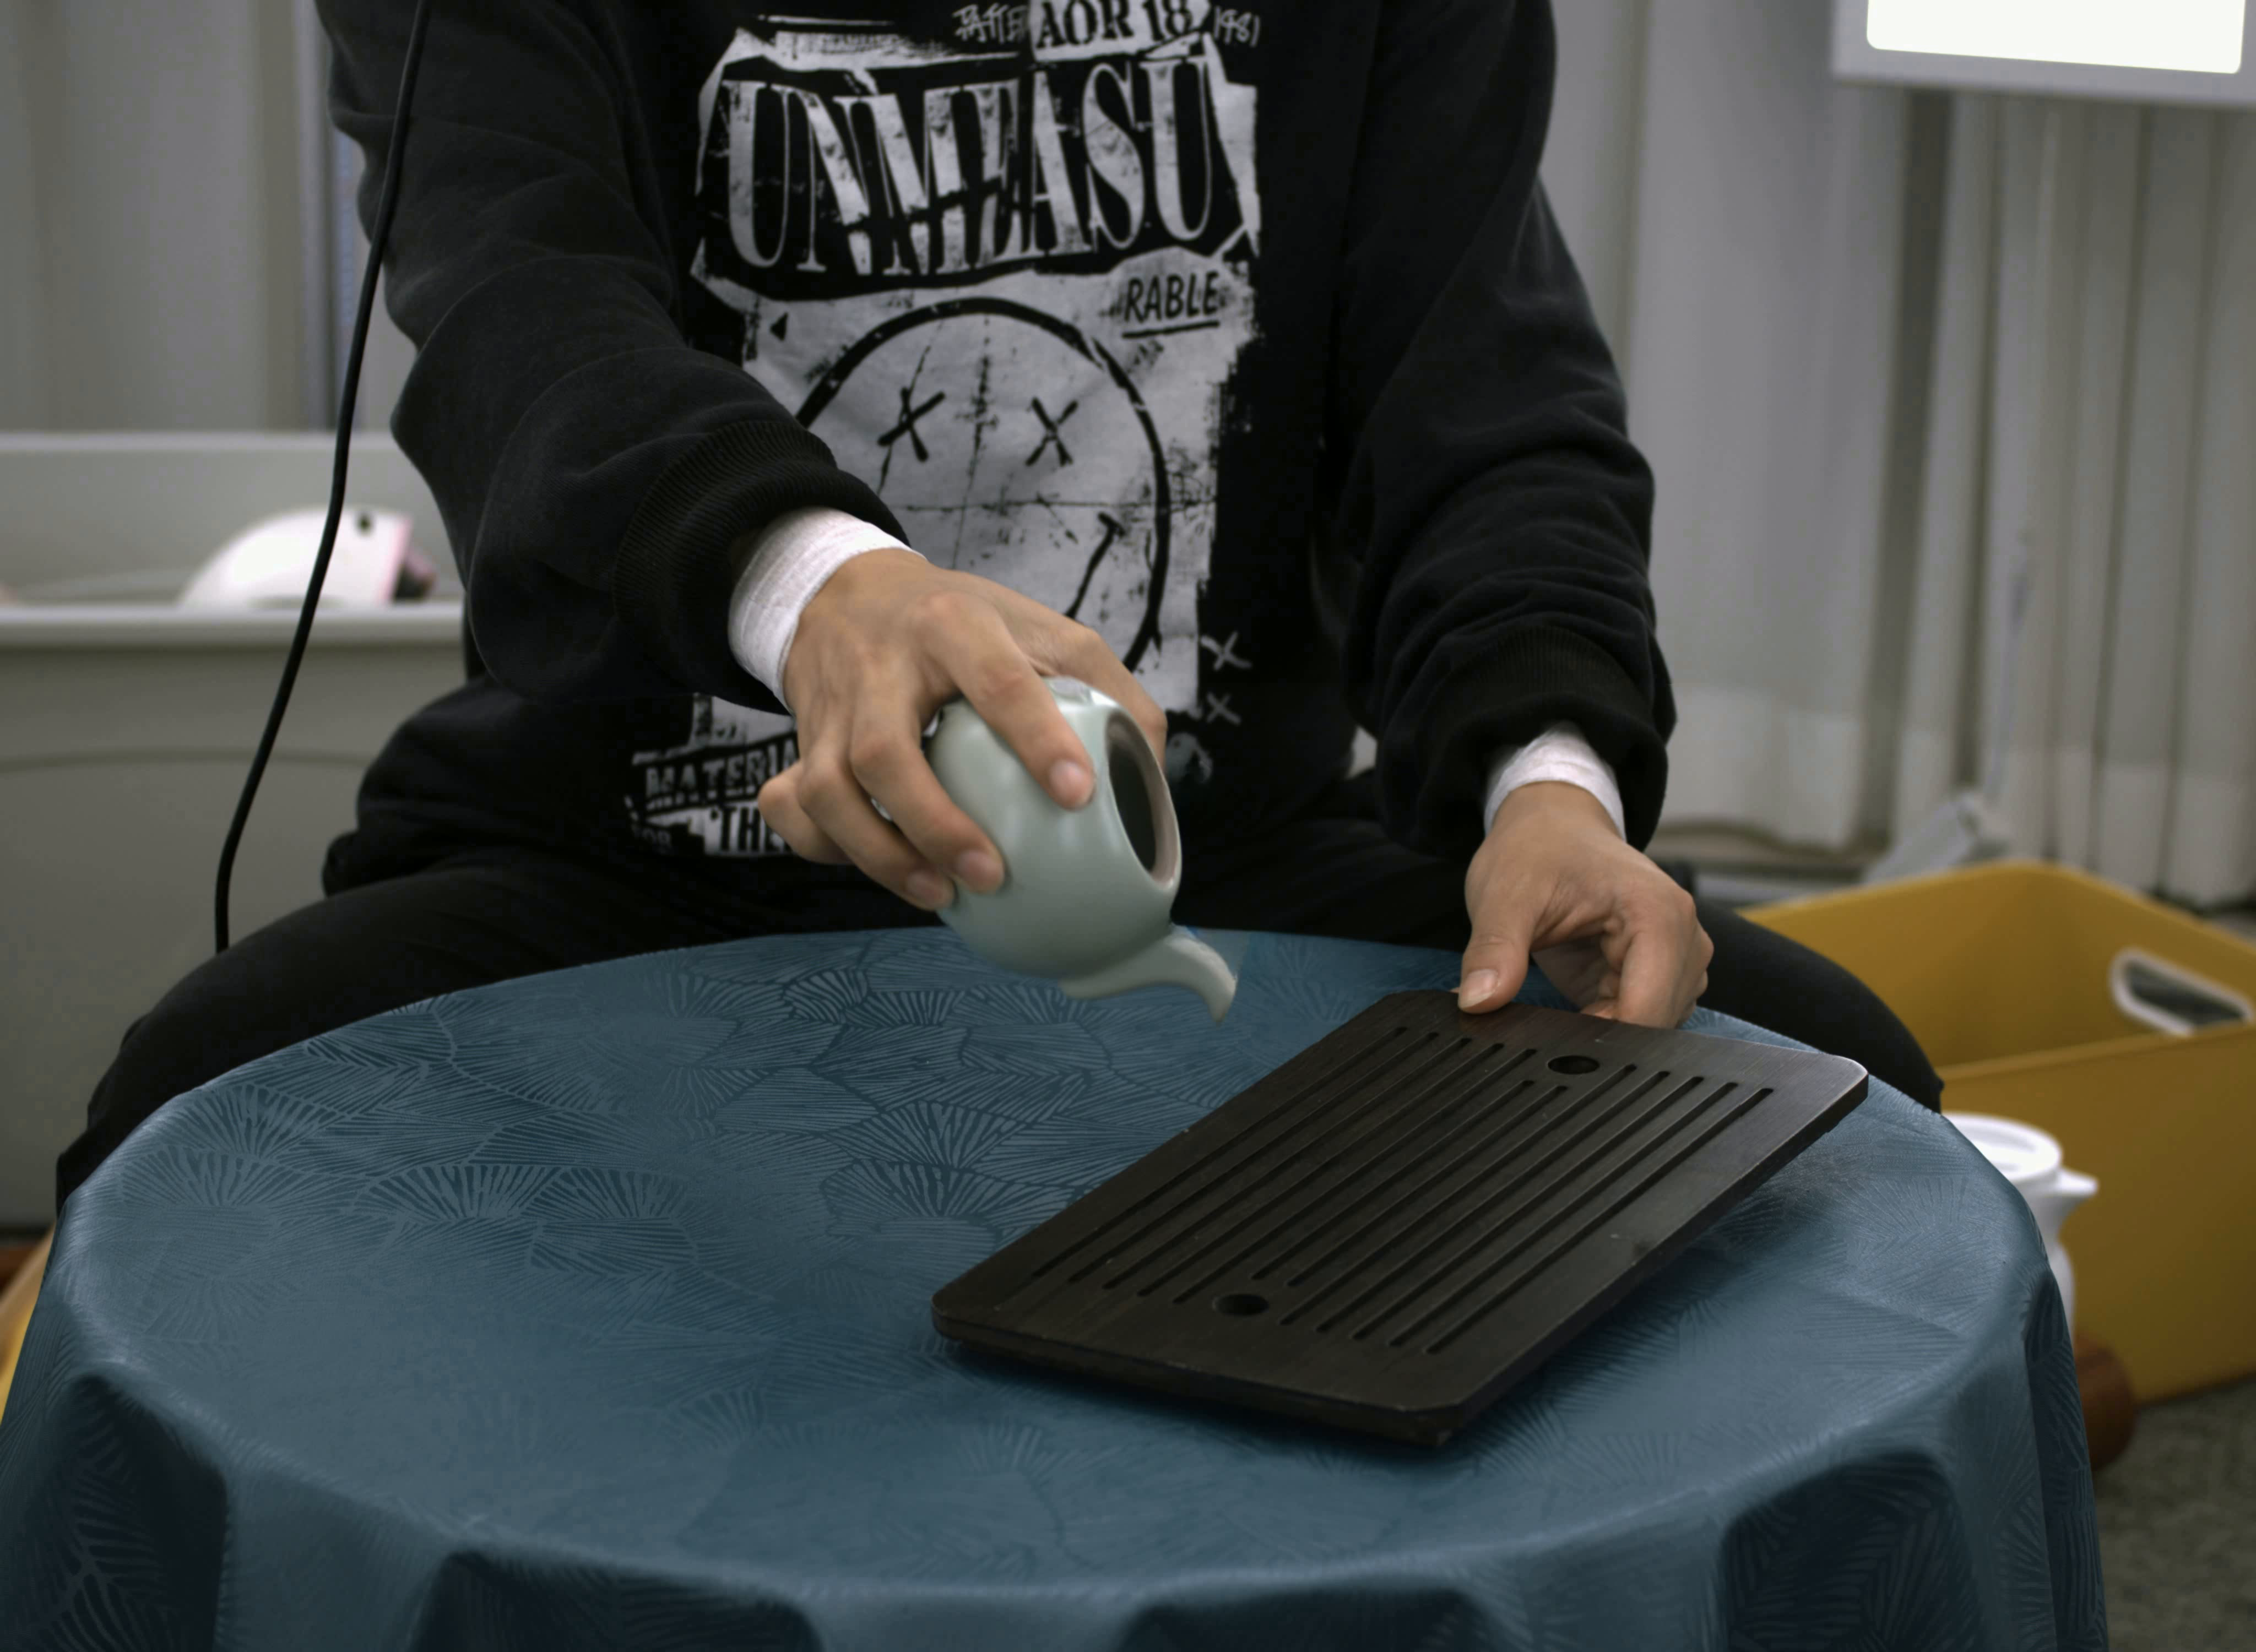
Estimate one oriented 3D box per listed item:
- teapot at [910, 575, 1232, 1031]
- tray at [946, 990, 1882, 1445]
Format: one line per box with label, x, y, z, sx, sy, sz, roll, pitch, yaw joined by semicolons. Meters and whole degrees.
teapot;-0.022;0.000;1.526;0.074;0.145;0.088;-13;15;15
tray;0.092;0.112;1.566;0.168;0.019;0.306;9;20;29
